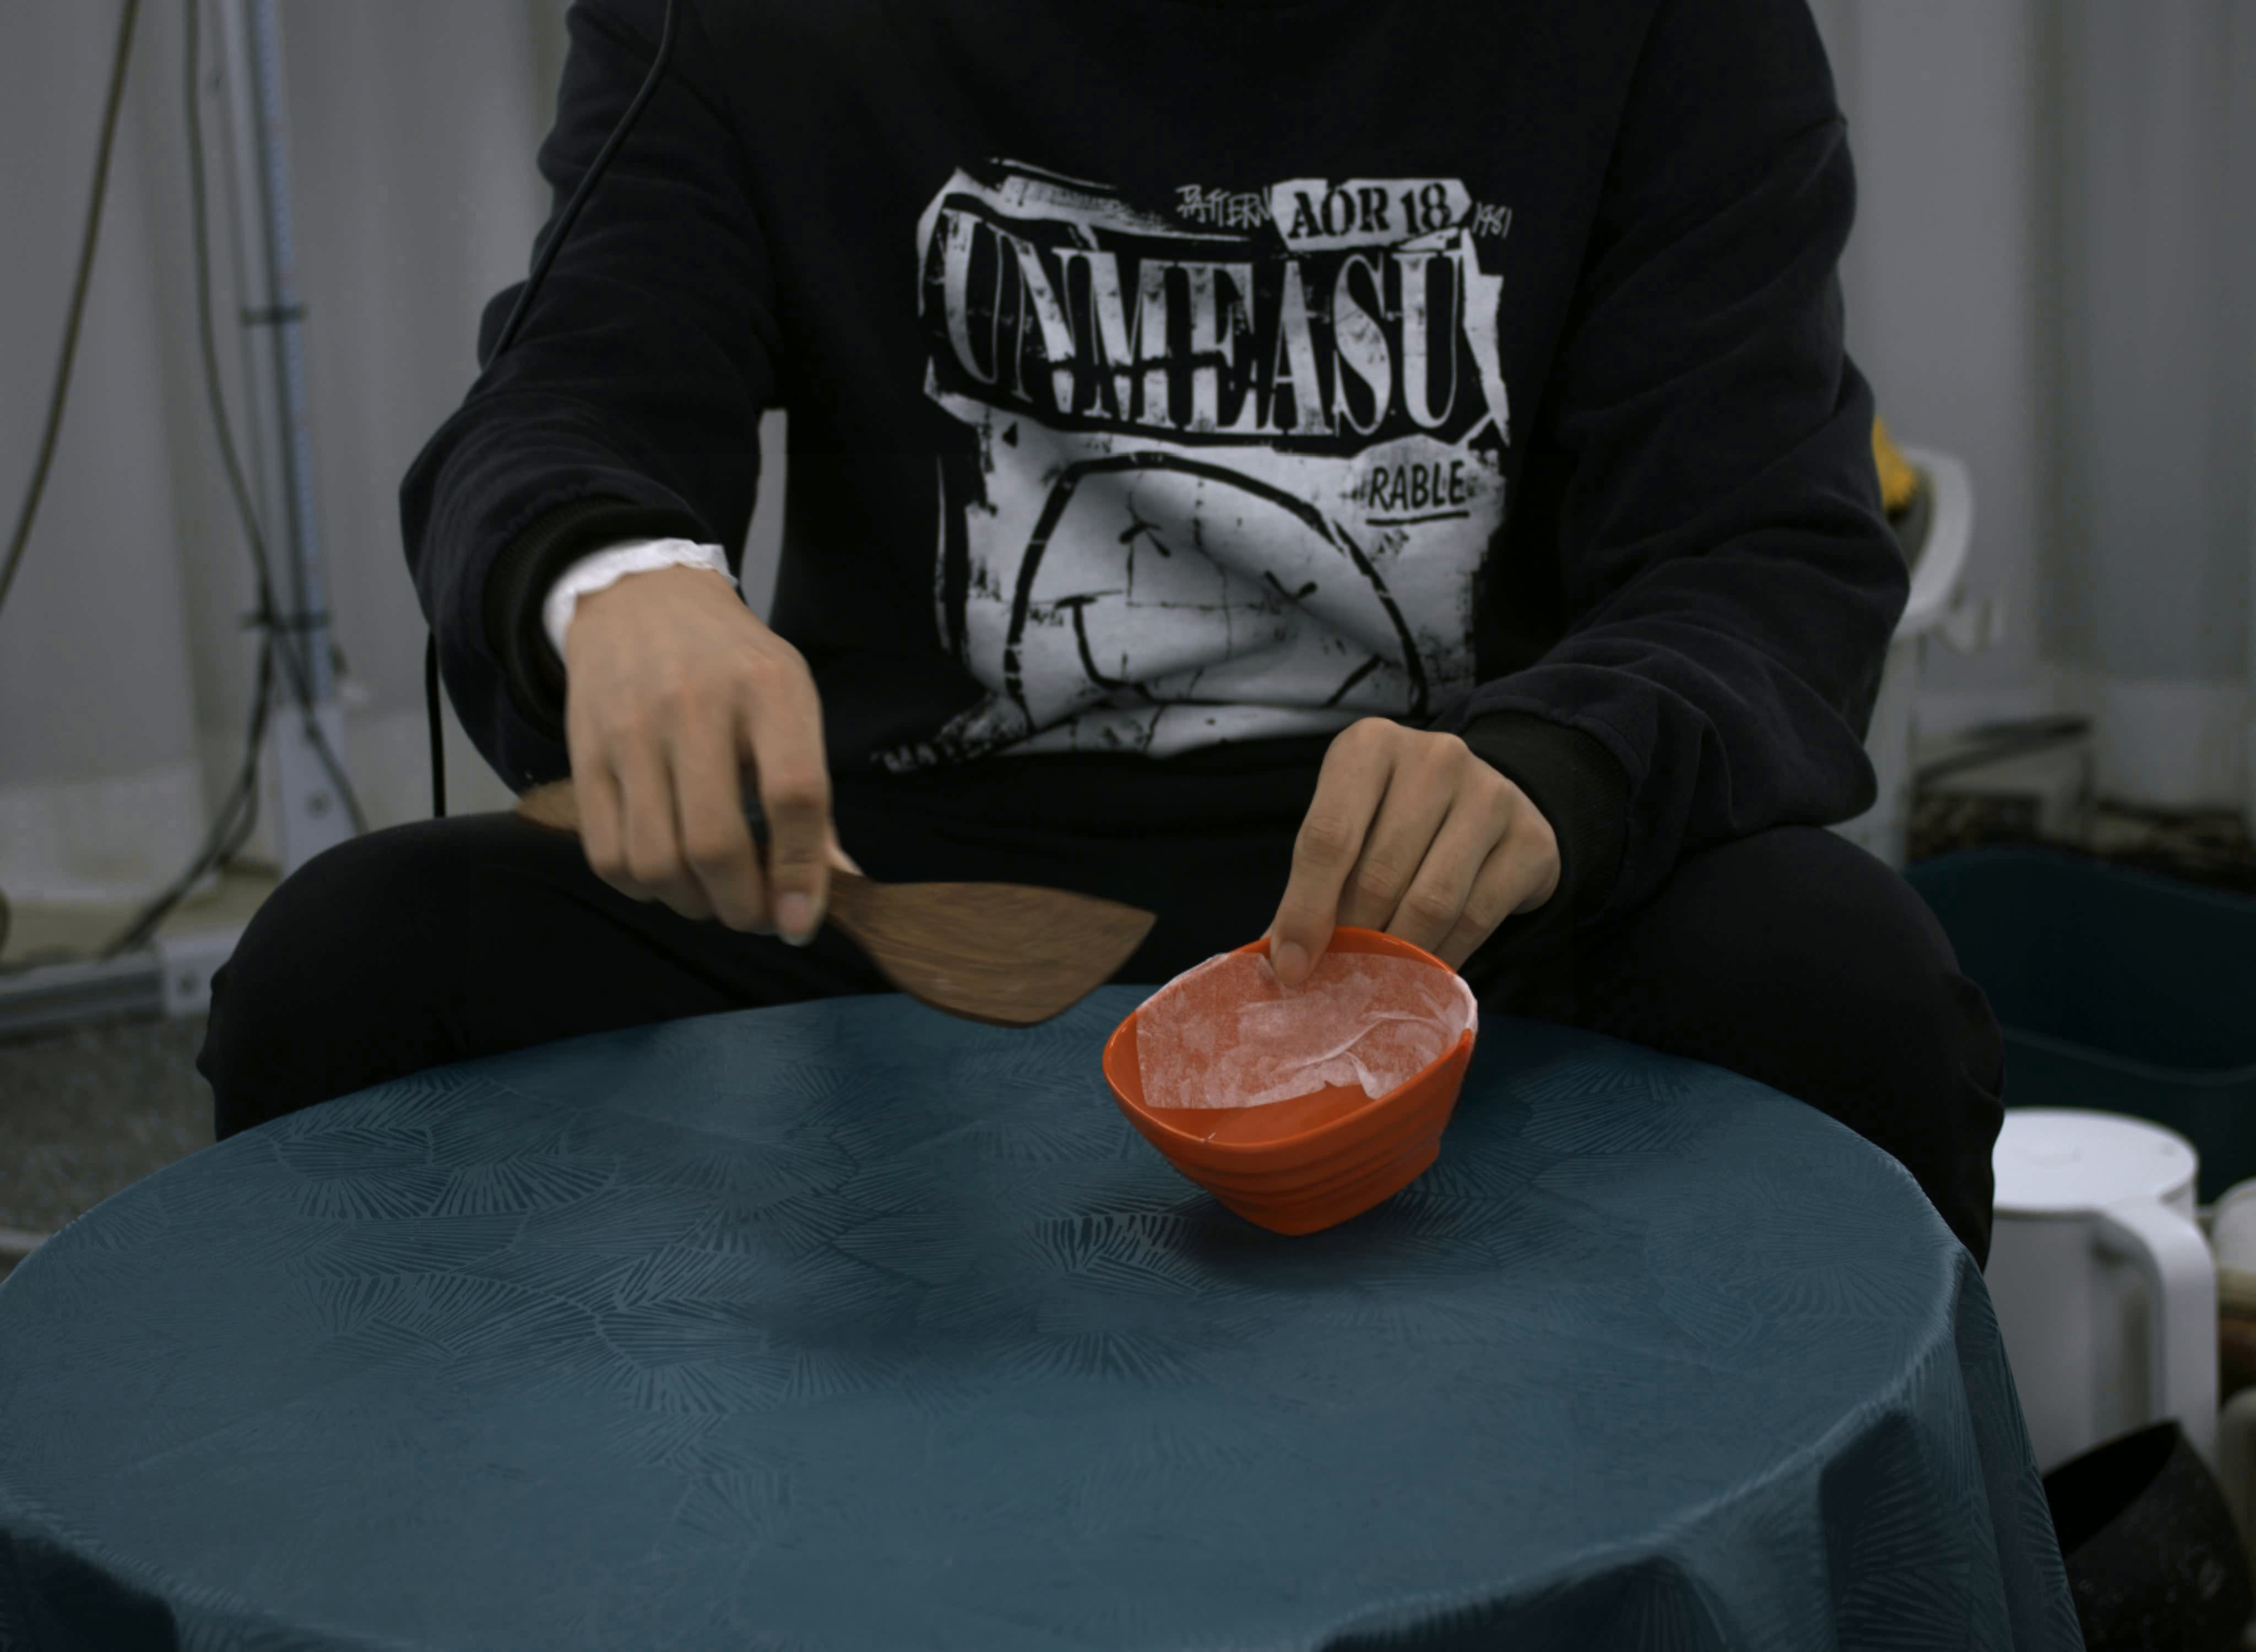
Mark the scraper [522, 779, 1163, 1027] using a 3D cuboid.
[{"bbox_3d":[-0.092,0.018,1.651,0.212,0.011,0.076,16,35,26],"label":"scraper"}]

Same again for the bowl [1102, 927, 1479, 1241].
[{"bbox_3d":[0.055,0.085,1.685,0.118,0.051,0.120,-12,30,7],"label":"bowl"}]
